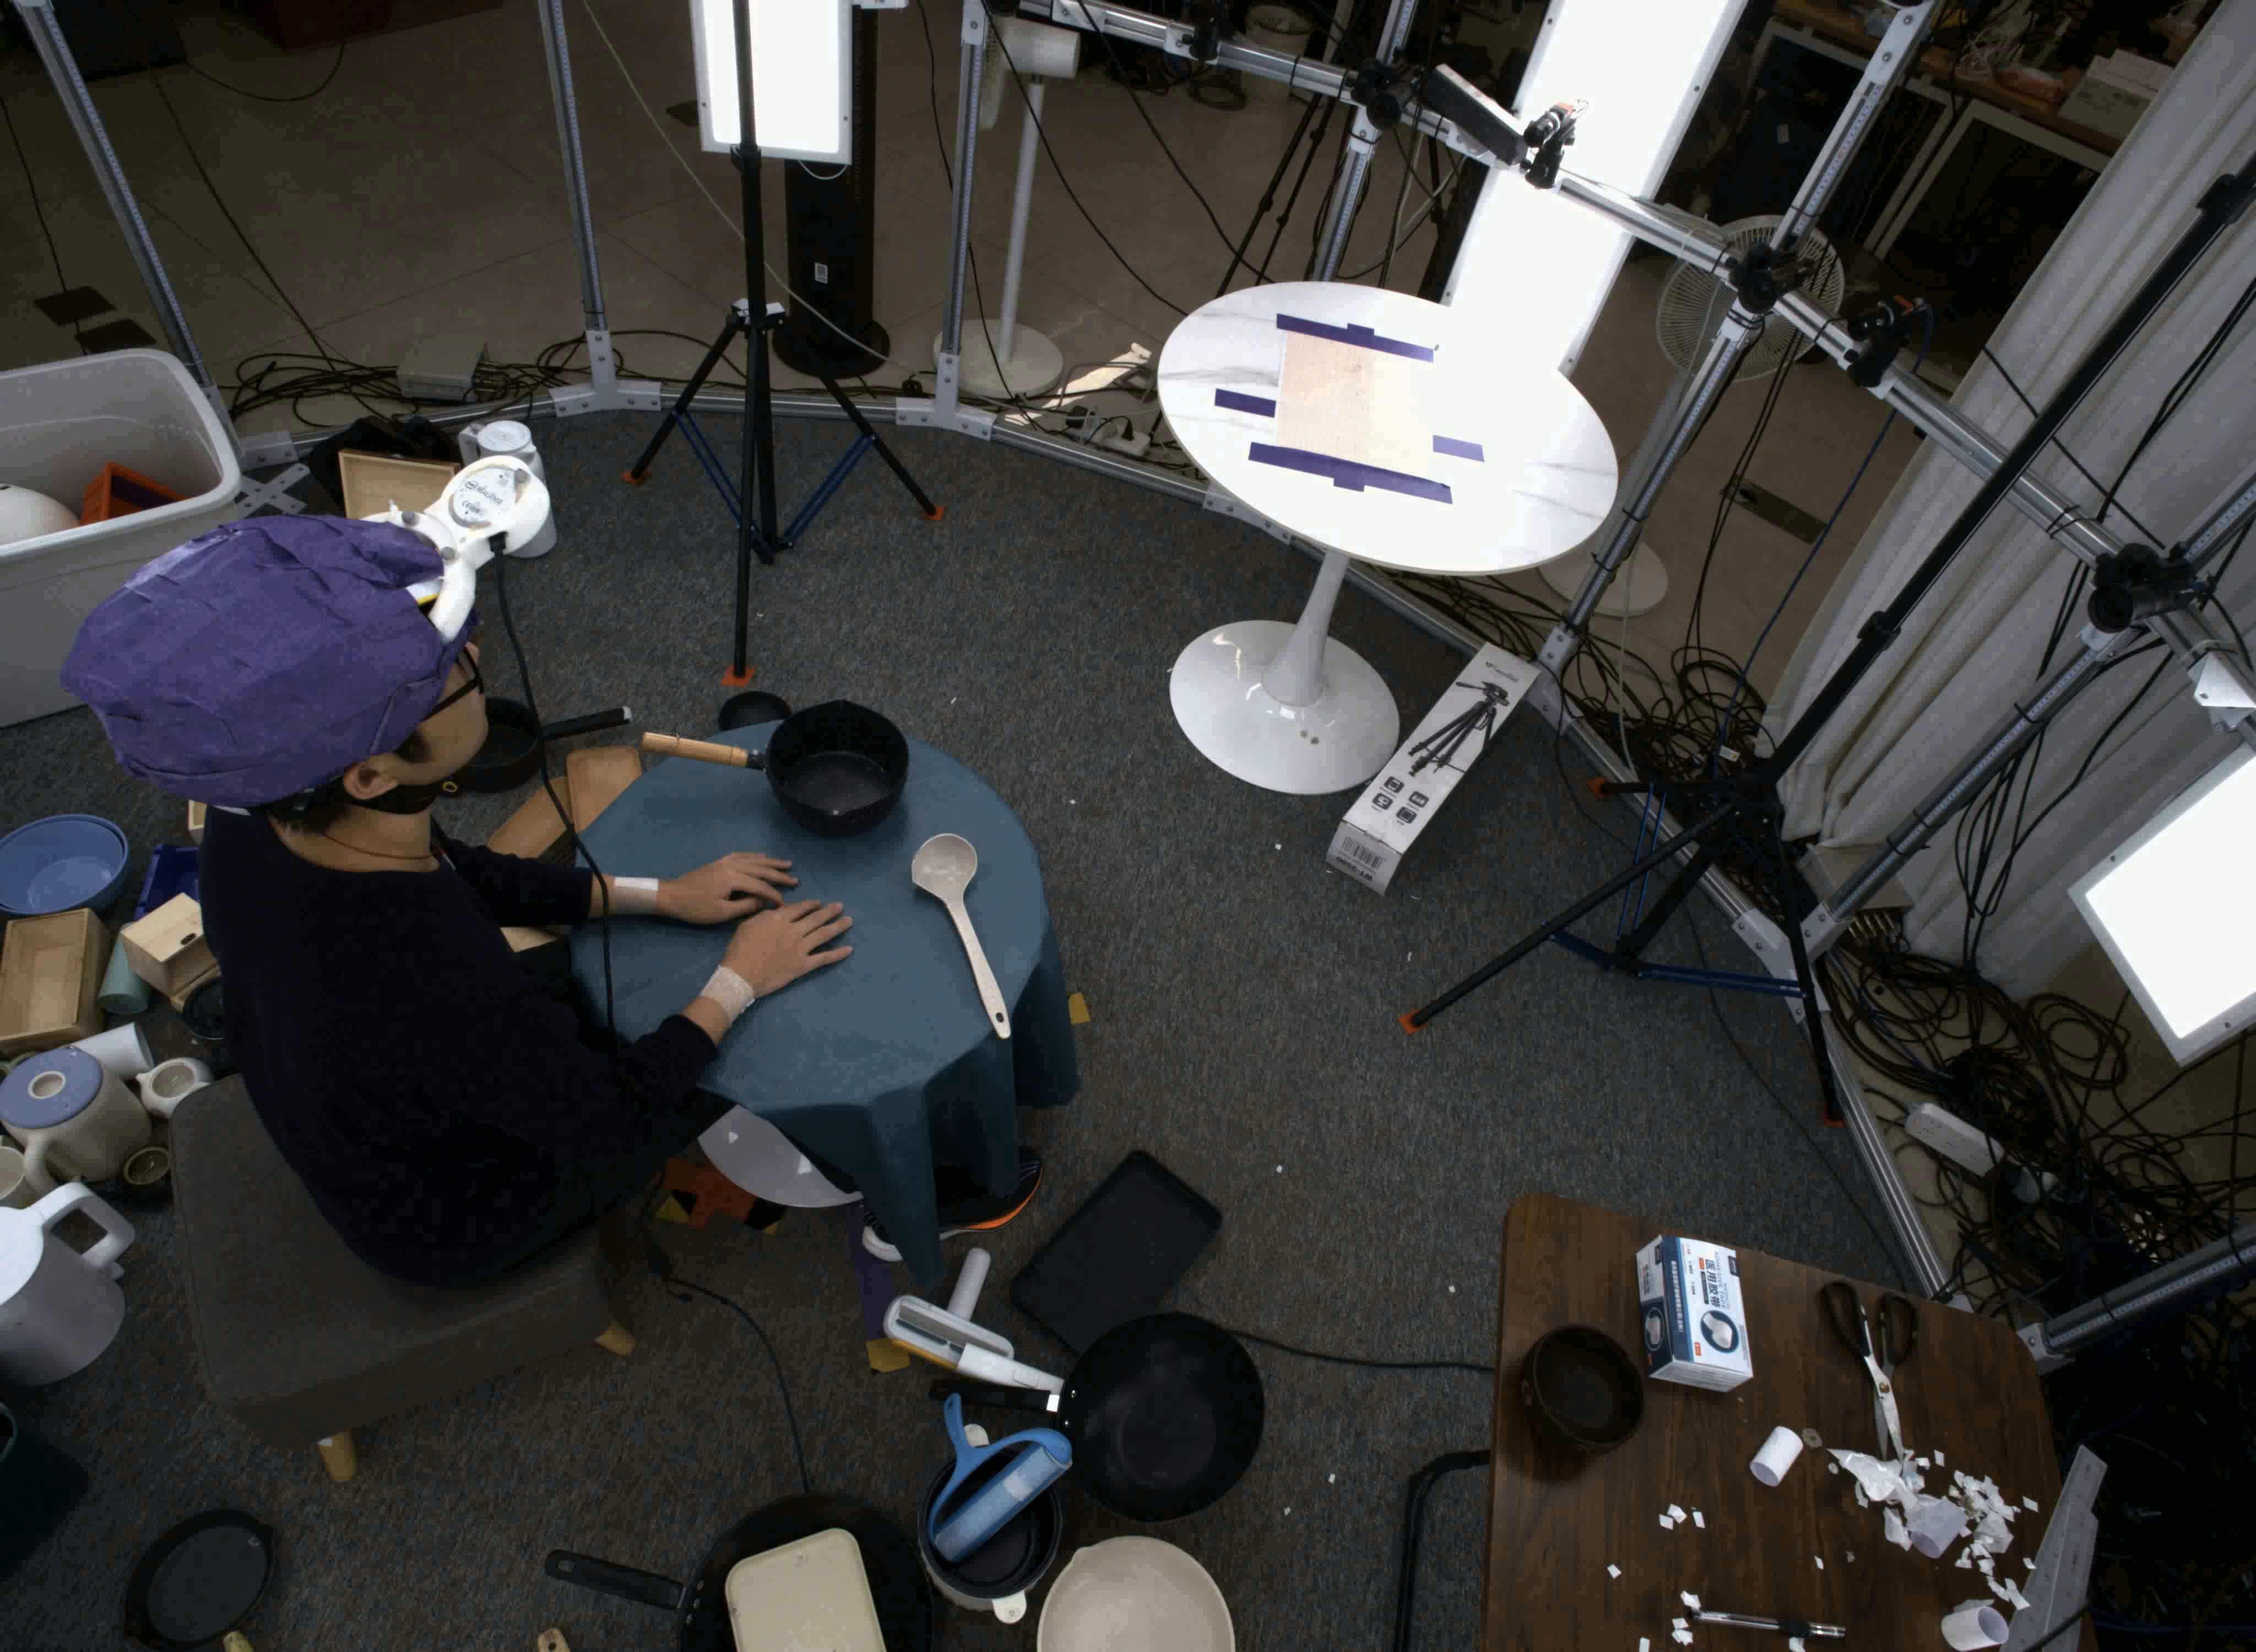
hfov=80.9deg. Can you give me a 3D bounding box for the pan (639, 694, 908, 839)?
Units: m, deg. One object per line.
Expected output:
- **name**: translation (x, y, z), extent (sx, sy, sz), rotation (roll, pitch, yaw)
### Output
- **pan**: translation (-0.462, -0.078, 1.692), extent (0.344, 0.110, 0.203), rotation (1, 54, -16)

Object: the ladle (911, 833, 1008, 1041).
- **ladle**: translation (-0.197, 0.133, 1.635), extent (0.090, 0.070, 0.268), rotation (-9, 58, -30)
